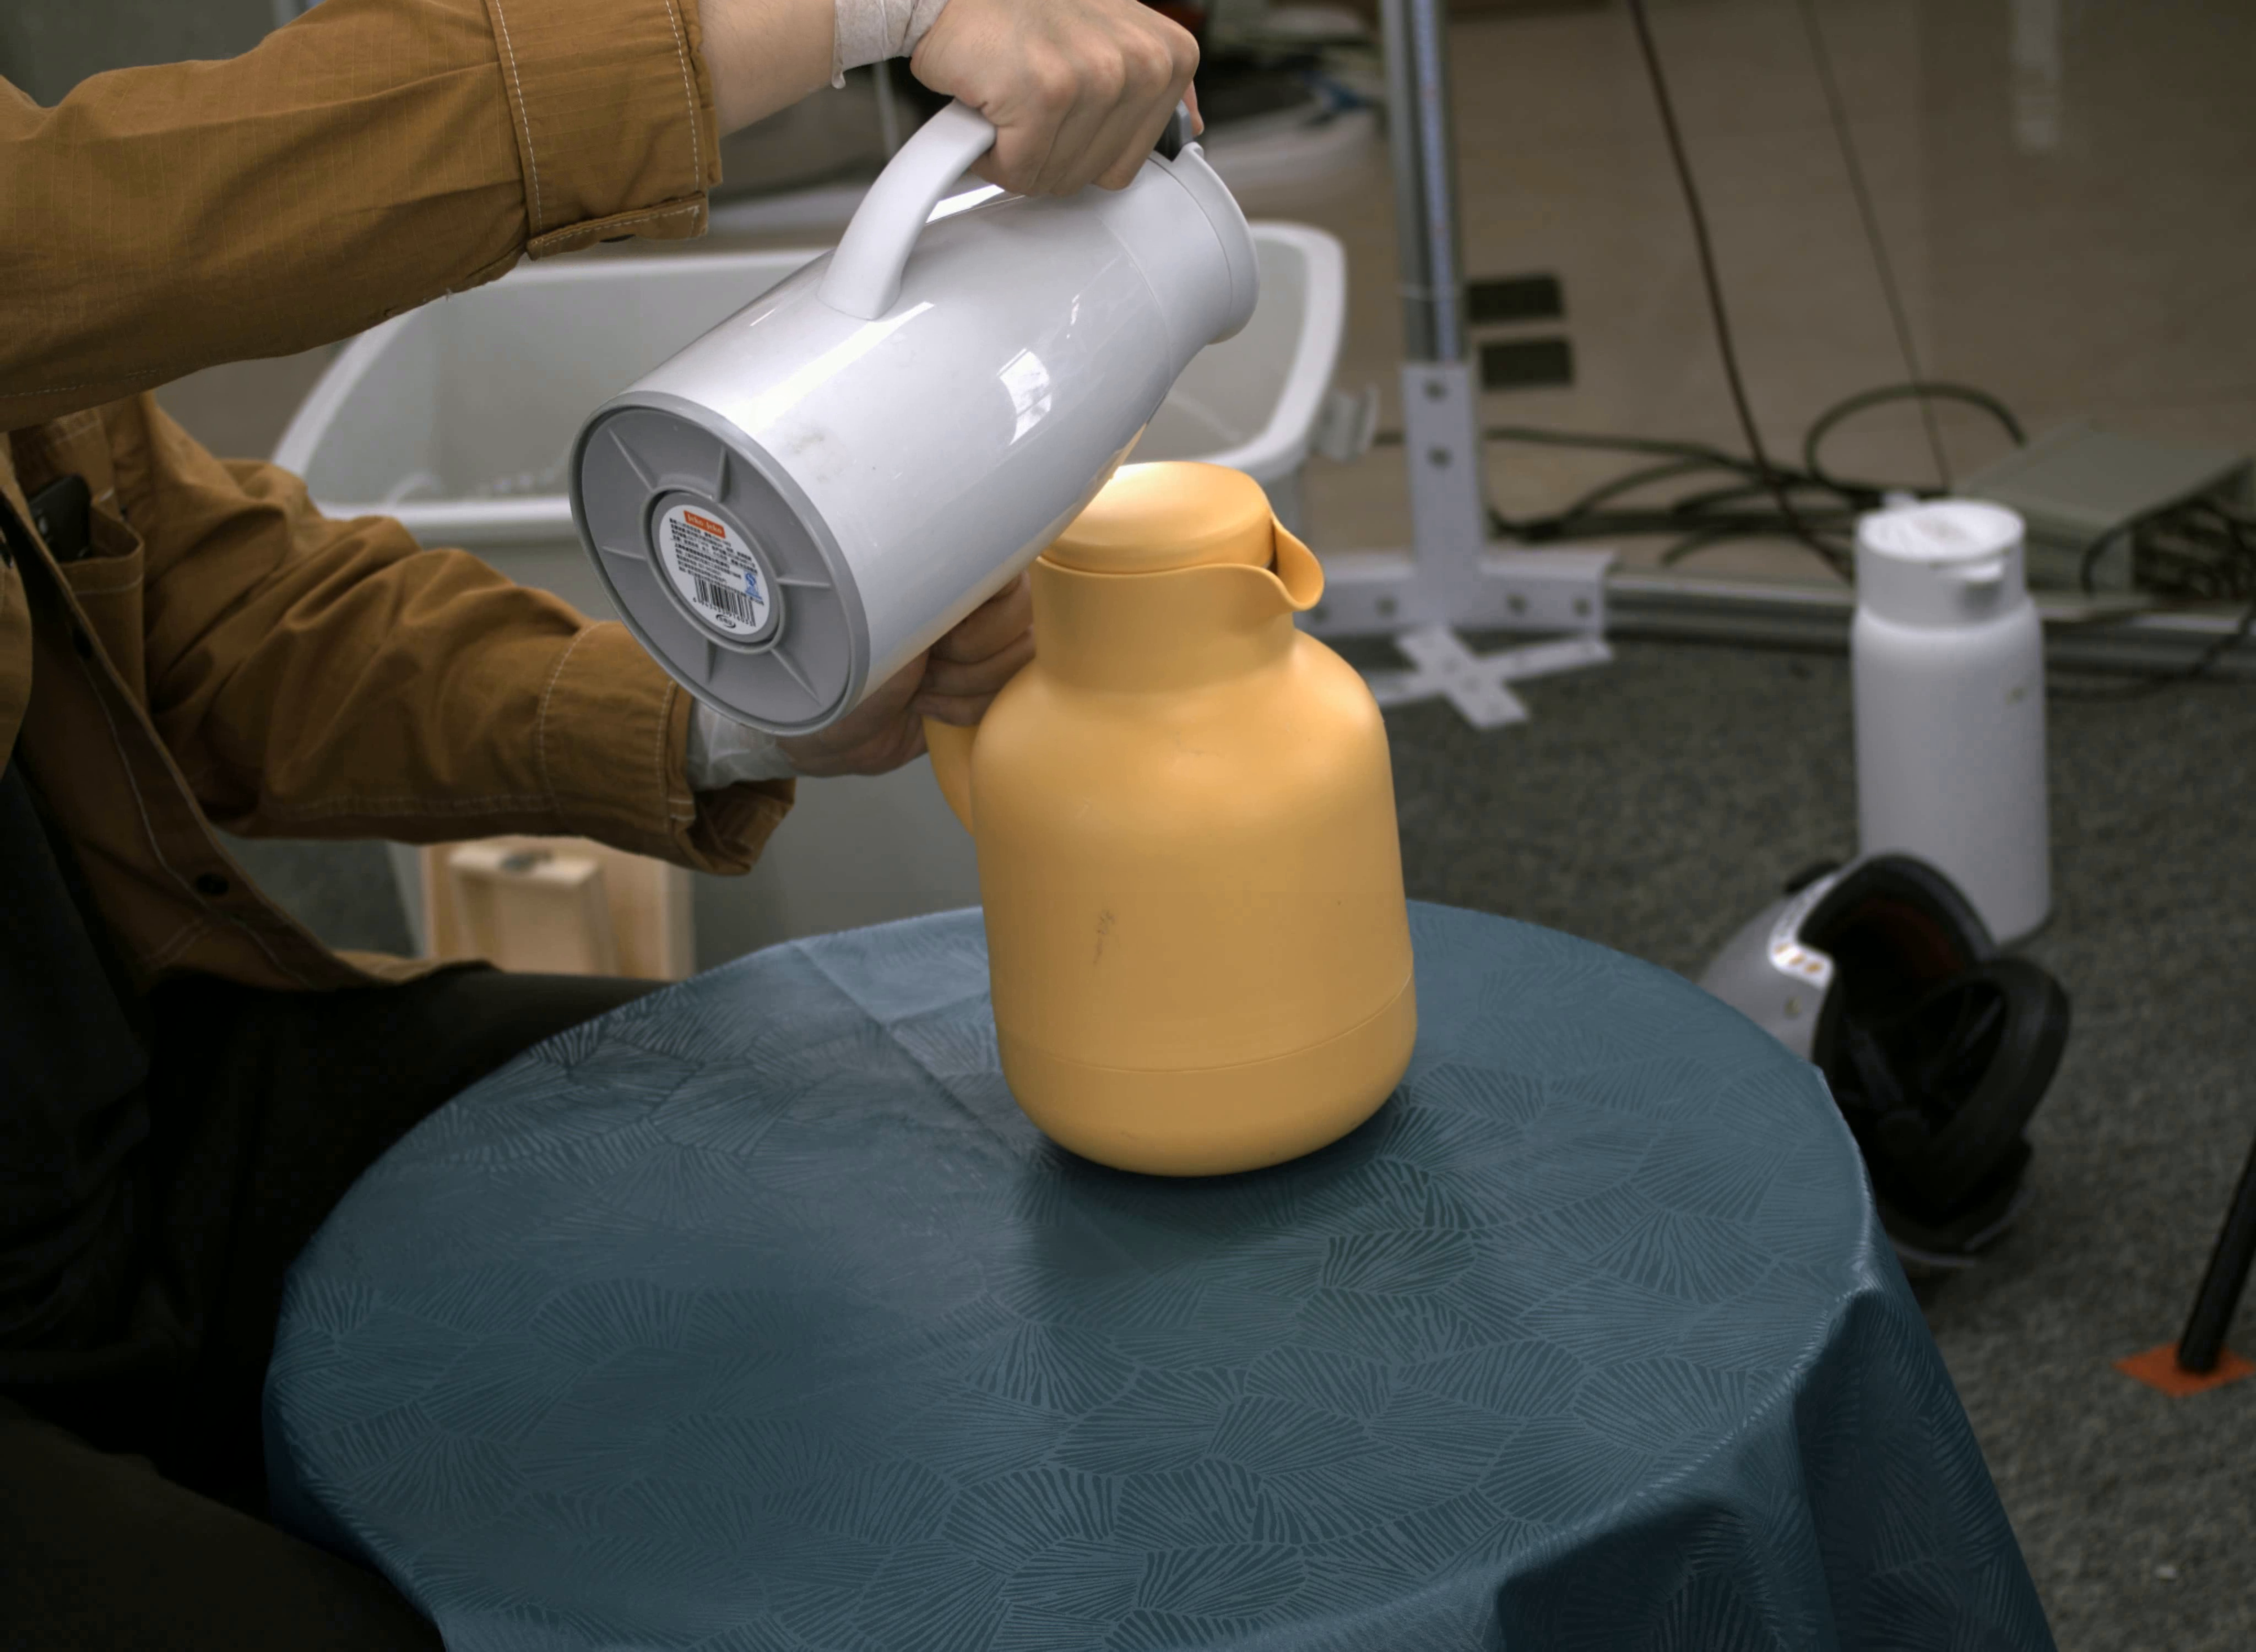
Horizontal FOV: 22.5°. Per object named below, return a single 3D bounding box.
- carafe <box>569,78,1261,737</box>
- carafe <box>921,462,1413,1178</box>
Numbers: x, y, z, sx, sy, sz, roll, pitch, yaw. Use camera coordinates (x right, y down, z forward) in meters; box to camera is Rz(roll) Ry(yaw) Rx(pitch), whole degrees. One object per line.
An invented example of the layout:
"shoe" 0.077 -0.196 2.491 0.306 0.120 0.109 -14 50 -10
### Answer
"carafe" -0.062 -0.164 1.949 0.131 0.171 0.246 29 52 30
"carafe" 0.008 -0.012 2.160 0.201 0.264 0.162 18 34 39
